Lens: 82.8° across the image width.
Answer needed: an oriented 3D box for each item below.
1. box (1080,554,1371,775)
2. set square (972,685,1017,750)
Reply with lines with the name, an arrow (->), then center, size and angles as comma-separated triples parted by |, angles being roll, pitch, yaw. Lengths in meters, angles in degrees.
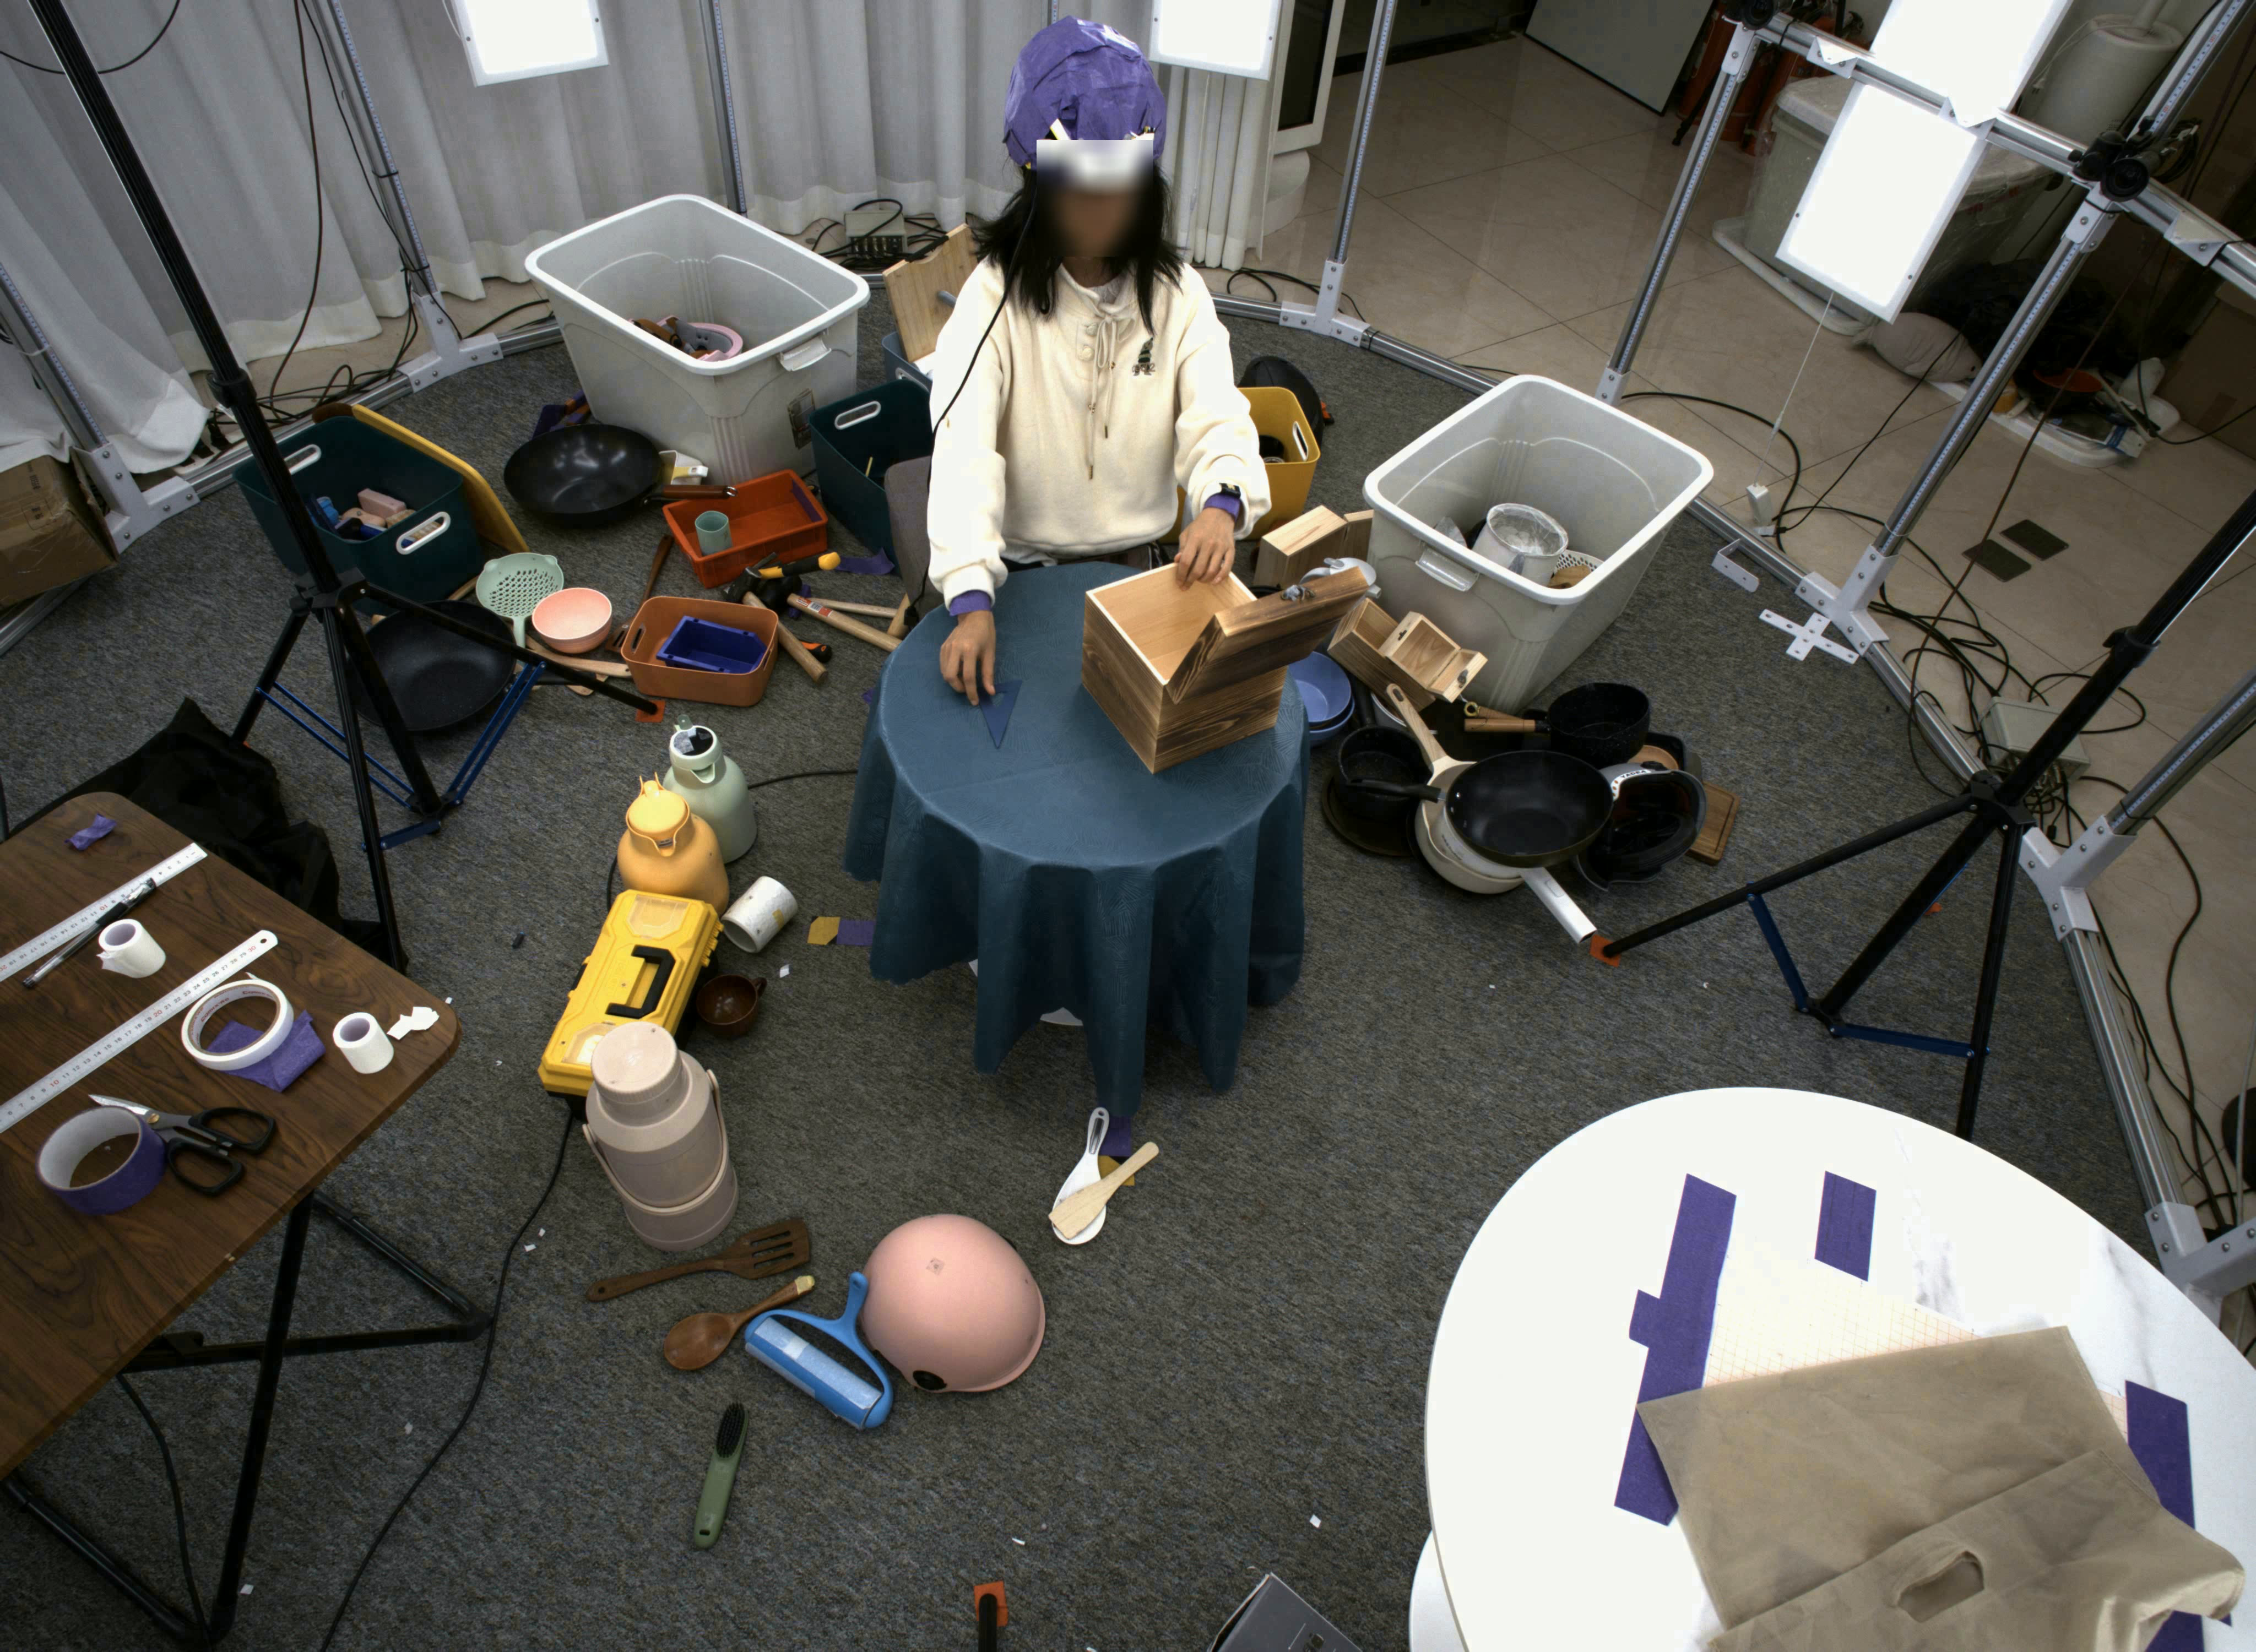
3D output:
box -> 0.109, -0.250, 1.665 | 0.209, 0.366, 0.329 | -21, 56, -22
set square -> -0.200, -0.159, 1.790 | 0.061, 0.006, 0.135 | 16, 50, 4
